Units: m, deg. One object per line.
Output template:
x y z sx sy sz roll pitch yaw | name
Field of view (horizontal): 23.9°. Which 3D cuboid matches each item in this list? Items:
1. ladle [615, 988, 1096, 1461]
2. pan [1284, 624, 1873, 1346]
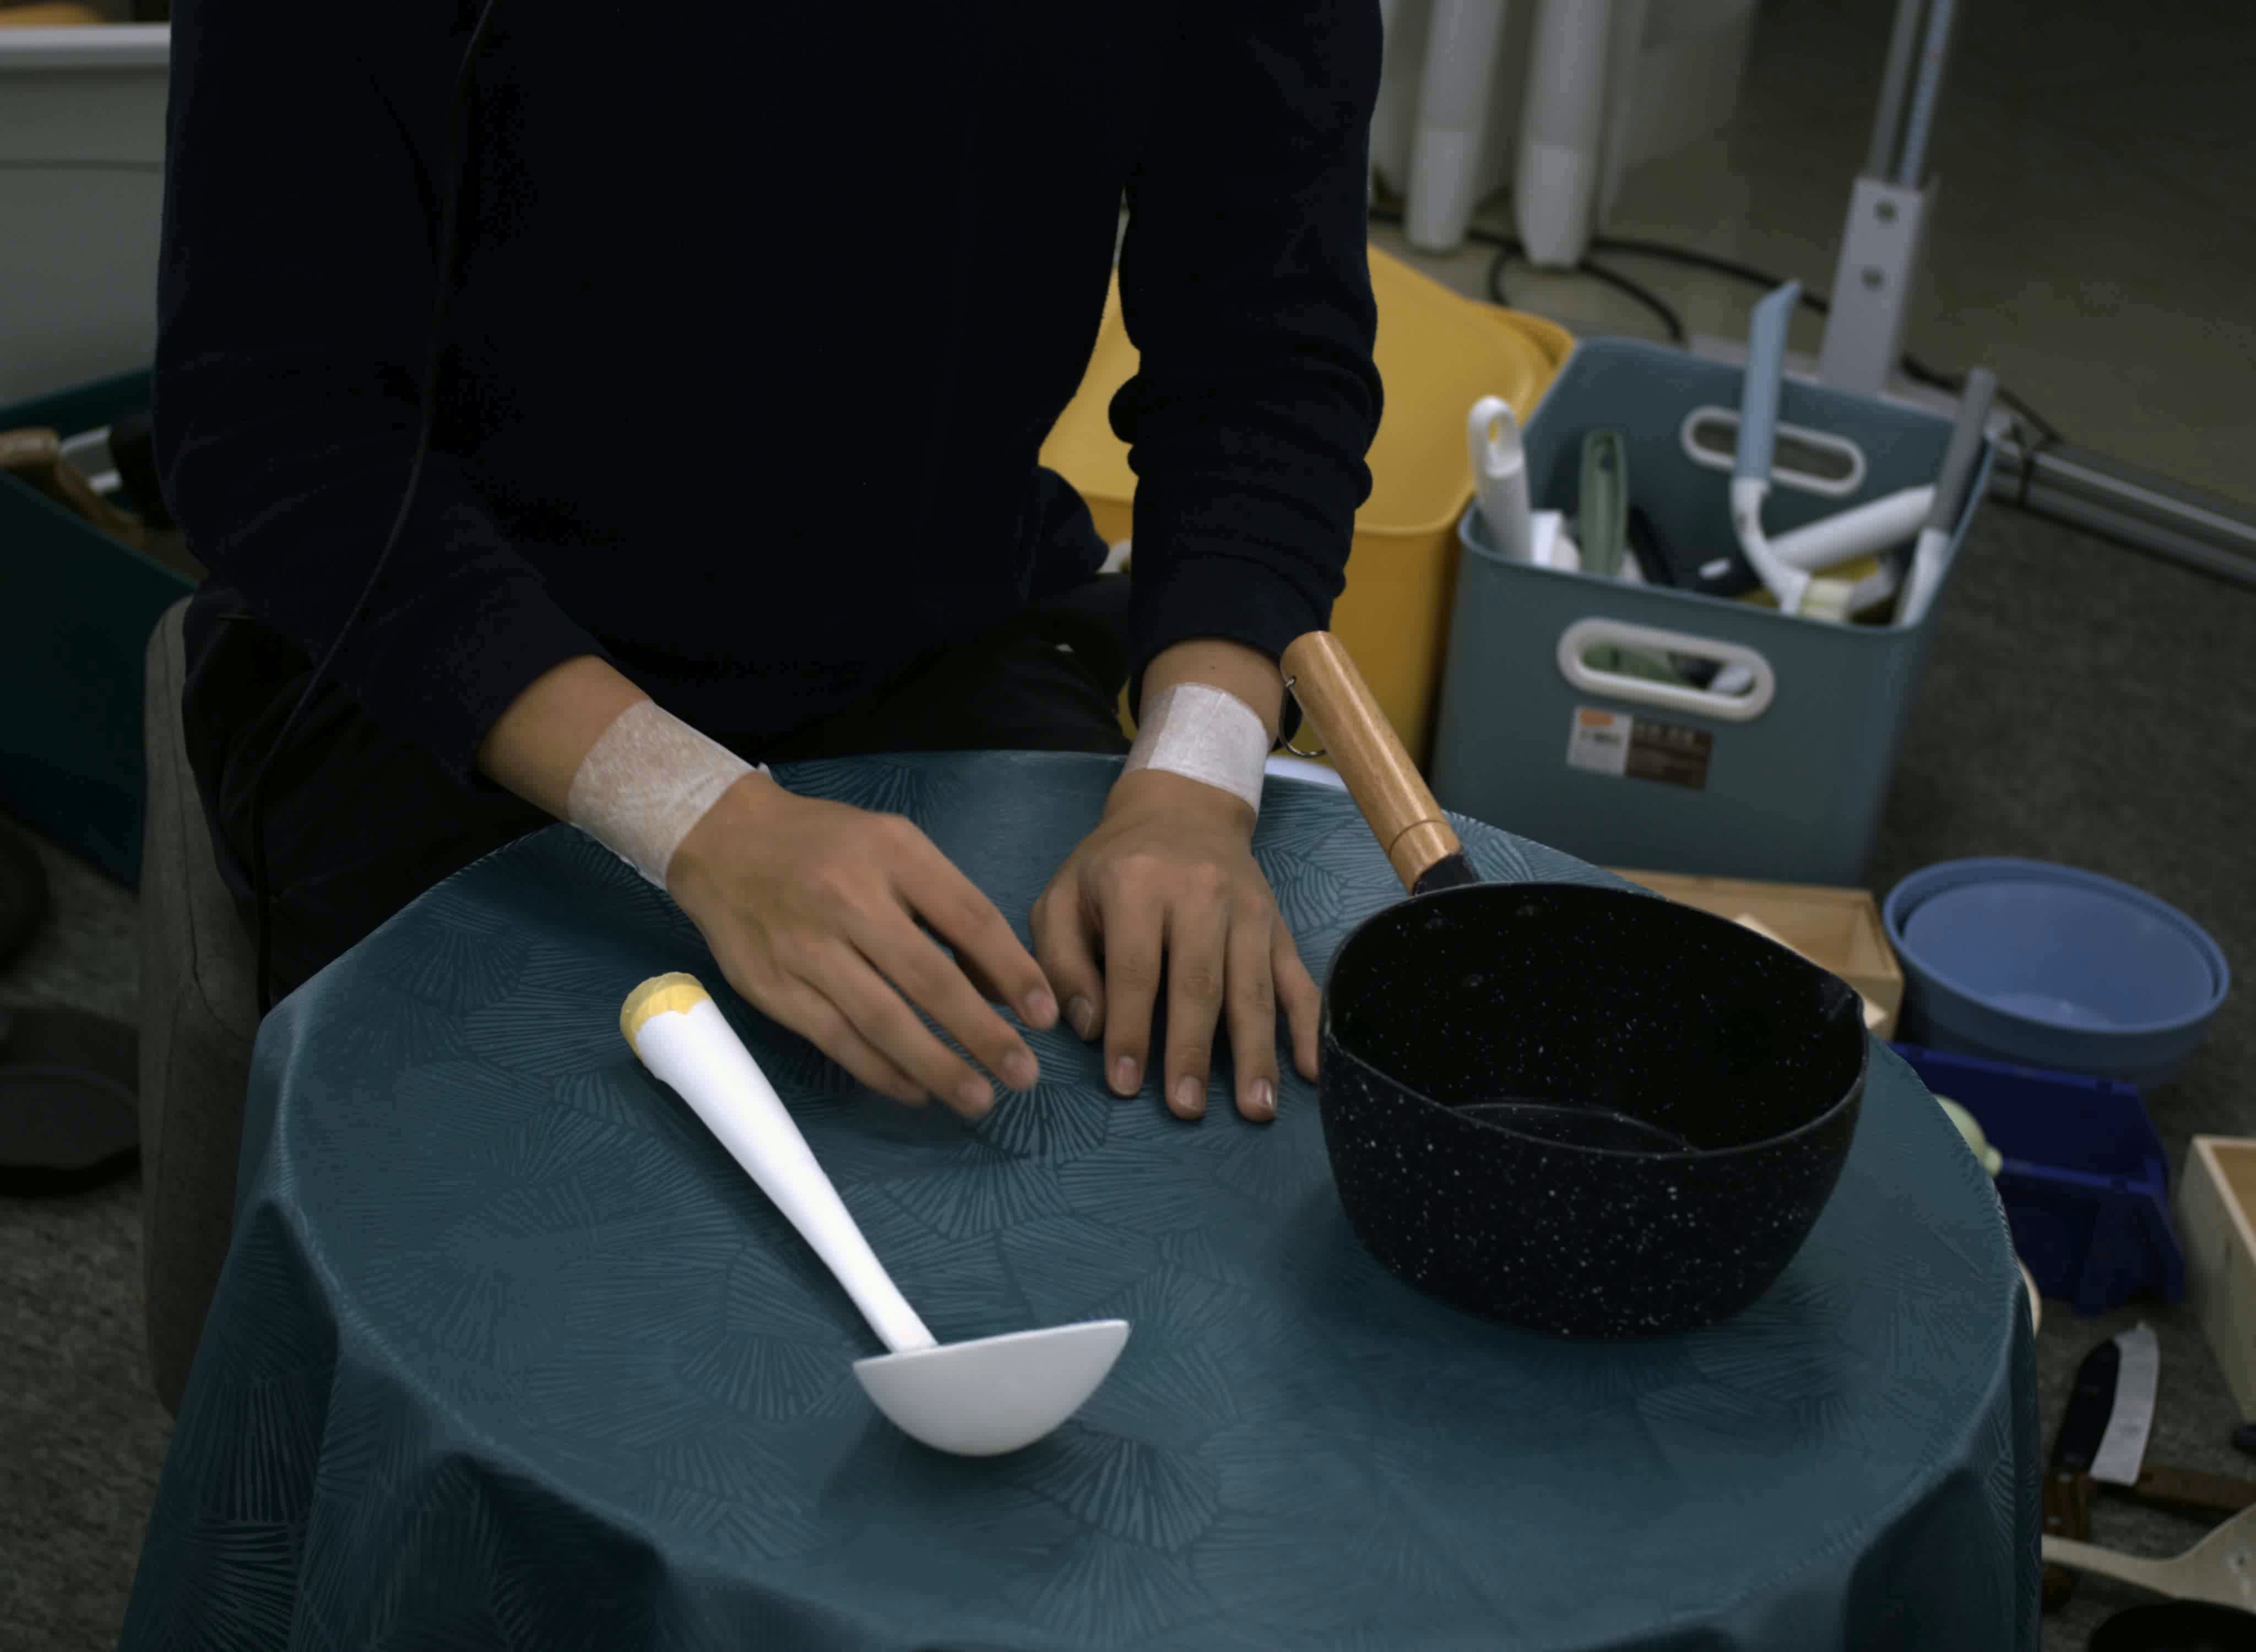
-0.101 0.117 1.722 0.089 0.069 0.295 -13 32 -21 | ladle
0.123 0.052 1.851 0.206 0.108 0.346 -7 31 -22 | pan
